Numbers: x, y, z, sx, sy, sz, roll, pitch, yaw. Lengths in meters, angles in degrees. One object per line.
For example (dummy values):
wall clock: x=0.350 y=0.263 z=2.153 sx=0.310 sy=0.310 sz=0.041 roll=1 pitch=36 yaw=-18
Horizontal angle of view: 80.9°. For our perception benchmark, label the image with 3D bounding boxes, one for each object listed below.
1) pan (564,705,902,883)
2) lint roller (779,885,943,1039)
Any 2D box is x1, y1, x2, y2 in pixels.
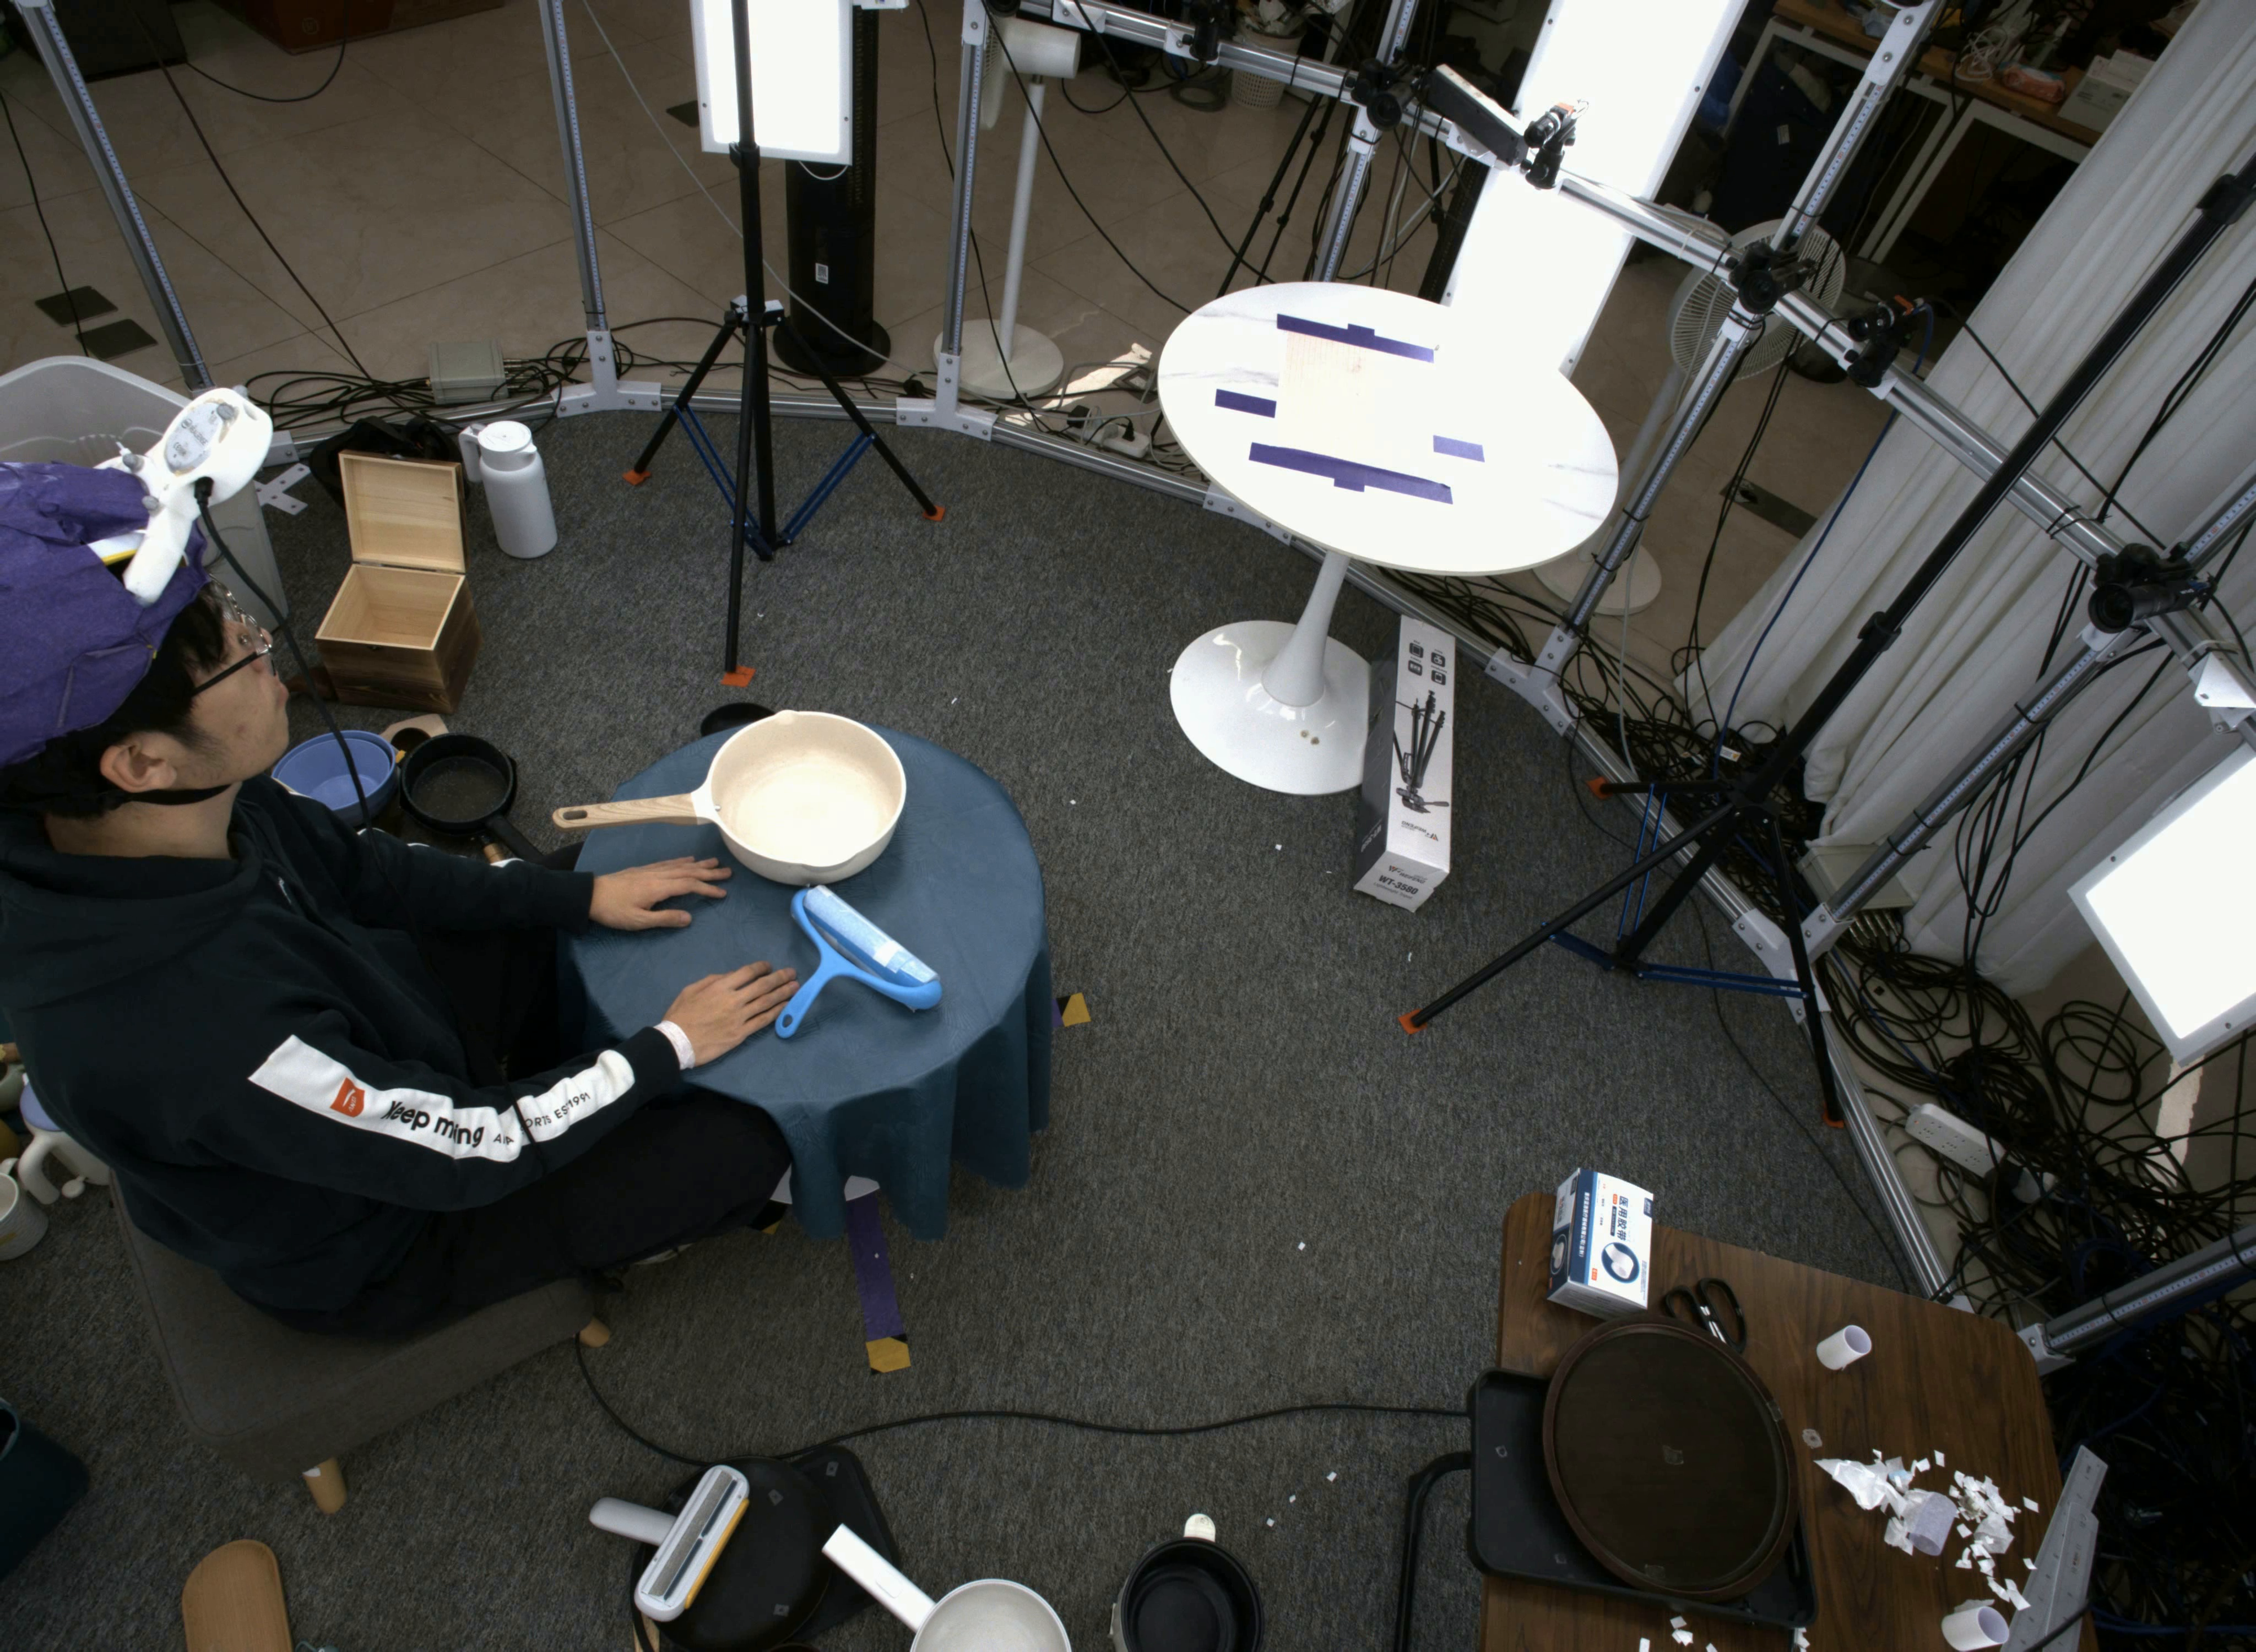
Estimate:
pan: x=-0.505 y=-0.021 z=1.659 sx=0.437 sy=0.104 sz=0.257 roll=-13 pitch=60 yaw=-23
lint roller: x=-0.355 y=0.181 z=1.578 sx=0.225 sy=0.069 sz=0.180 roll=34 pitch=52 yaw=9
